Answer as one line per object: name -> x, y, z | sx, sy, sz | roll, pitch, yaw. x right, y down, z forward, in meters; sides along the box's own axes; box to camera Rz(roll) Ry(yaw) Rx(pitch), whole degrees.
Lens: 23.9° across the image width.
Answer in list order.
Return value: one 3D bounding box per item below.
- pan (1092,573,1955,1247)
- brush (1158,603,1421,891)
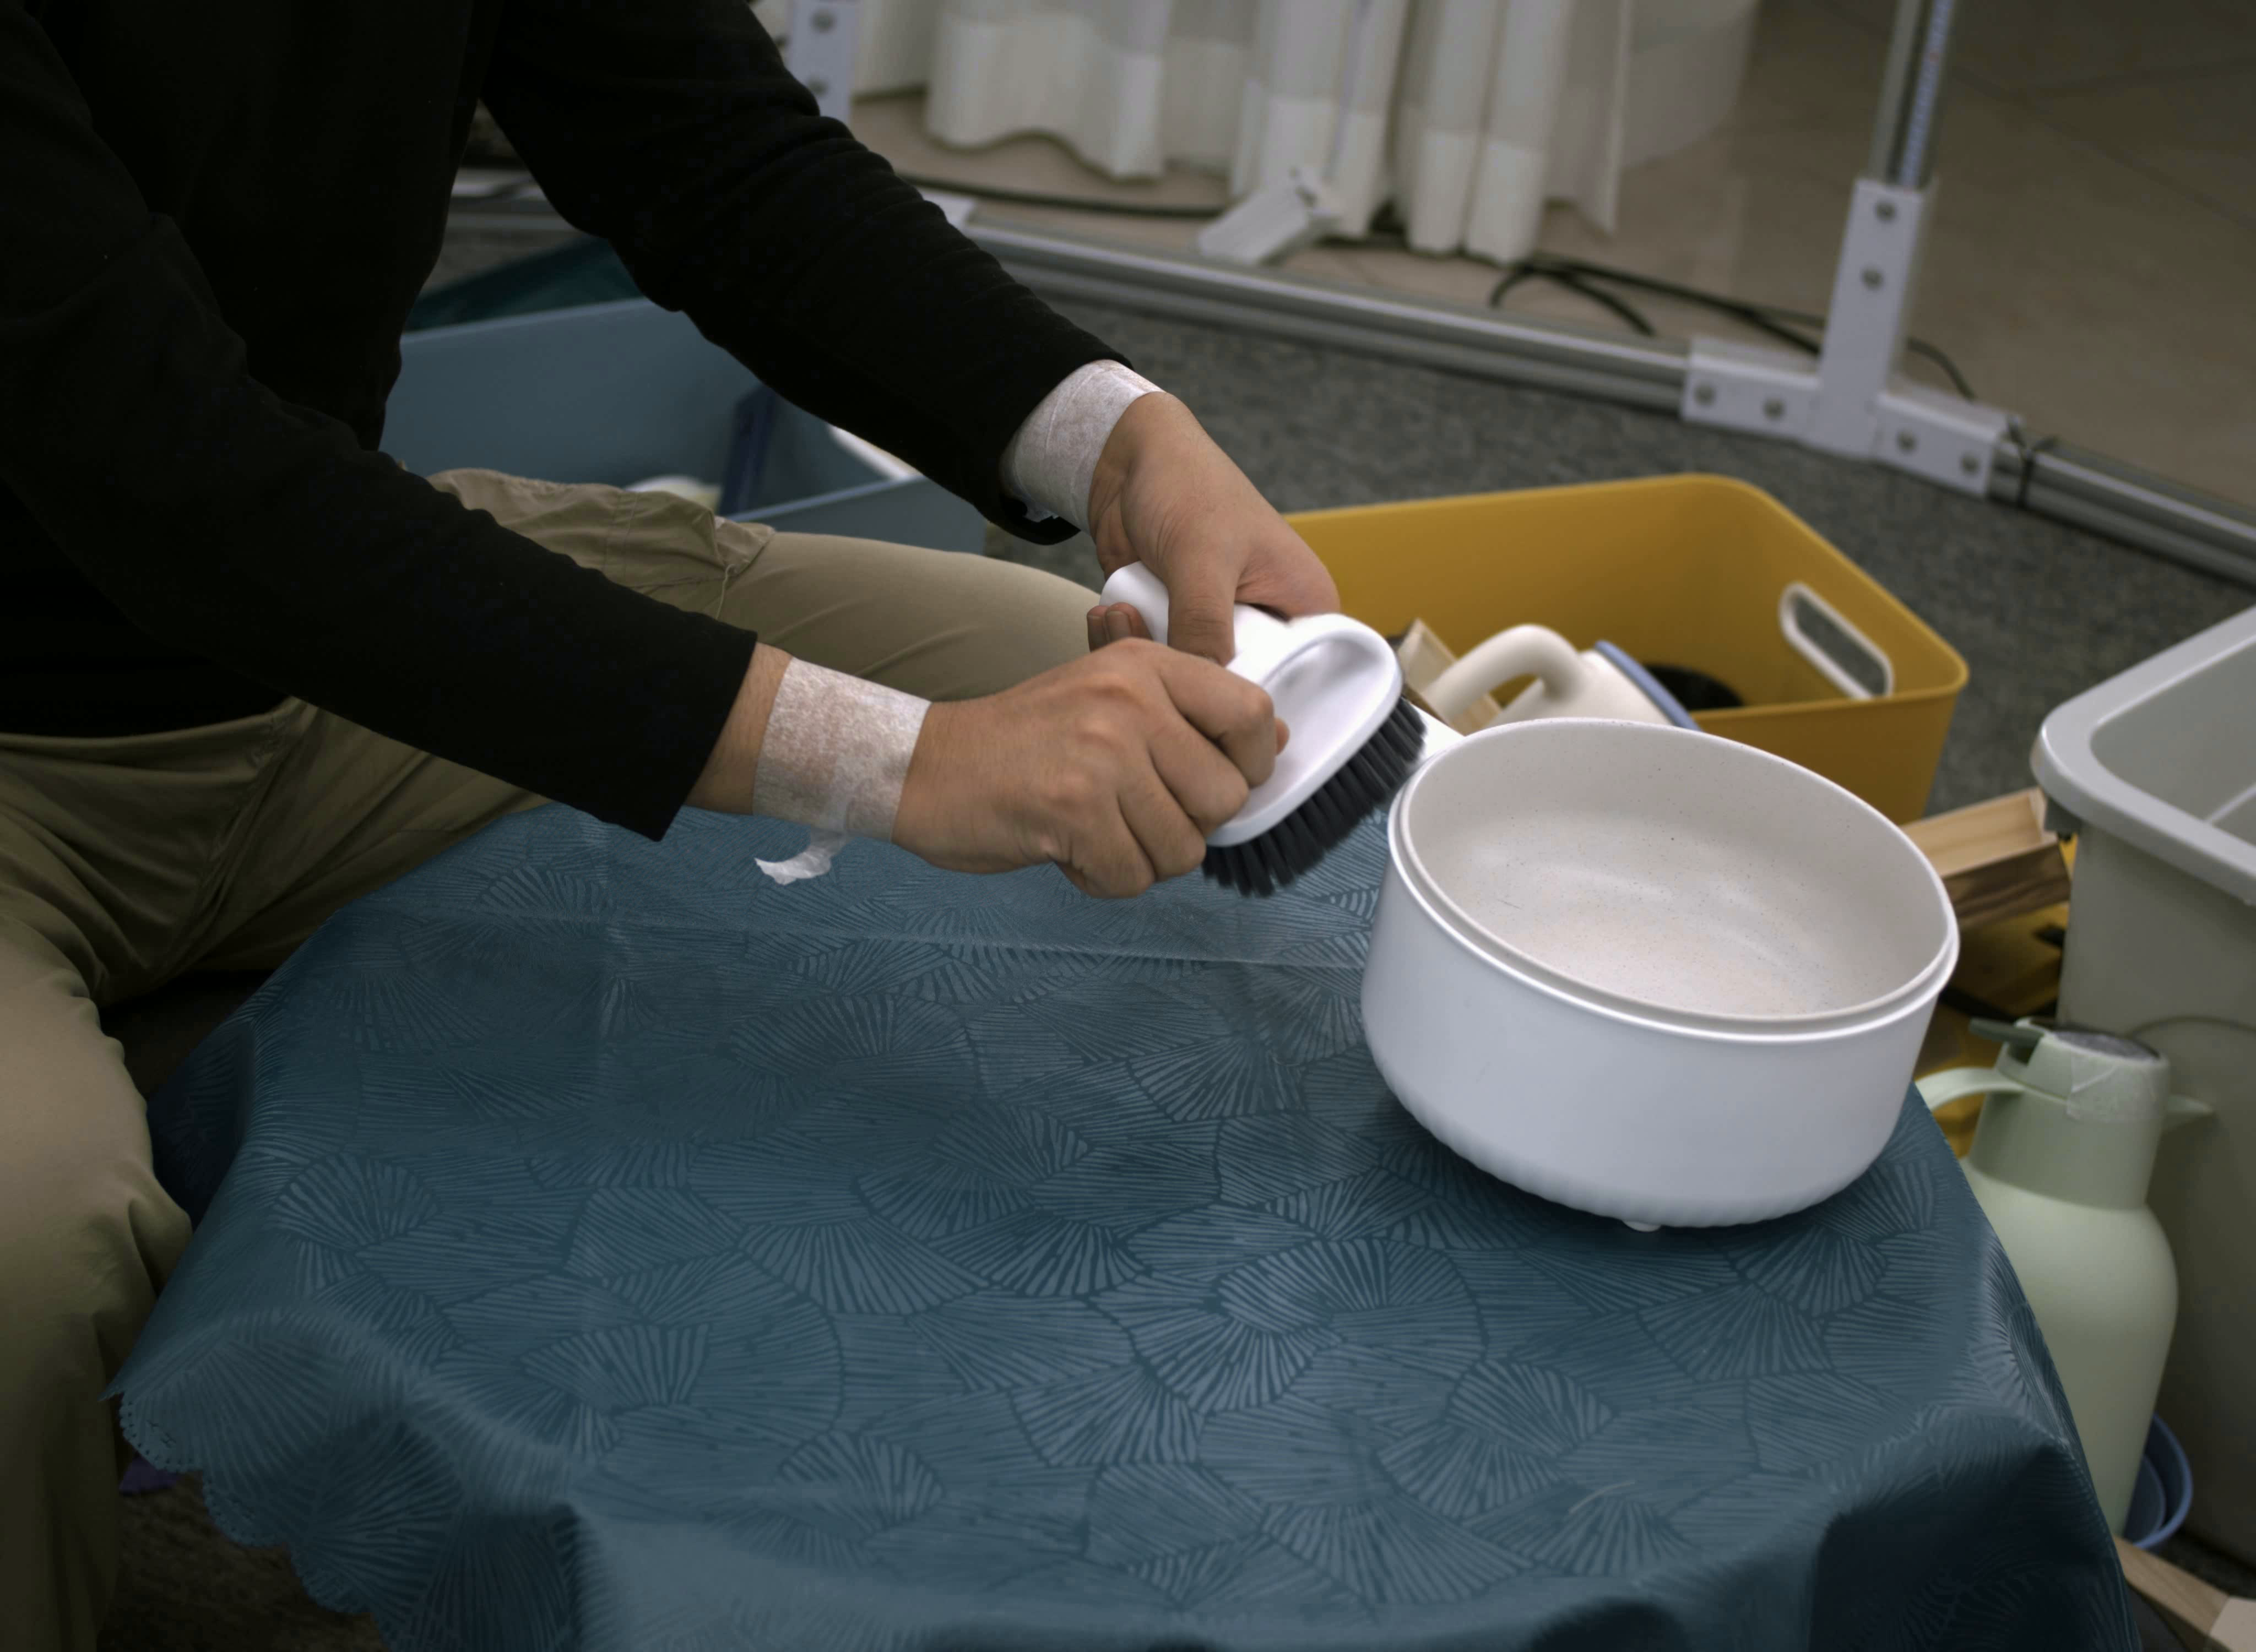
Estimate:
pan -> 0.124, 0.027, 1.899 | 0.357, 0.102, 0.200 | 30, 38, 32
brush -> 0.051, -0.034, 1.838 | 0.099, 0.072, 0.050 | -43, 49, -16
